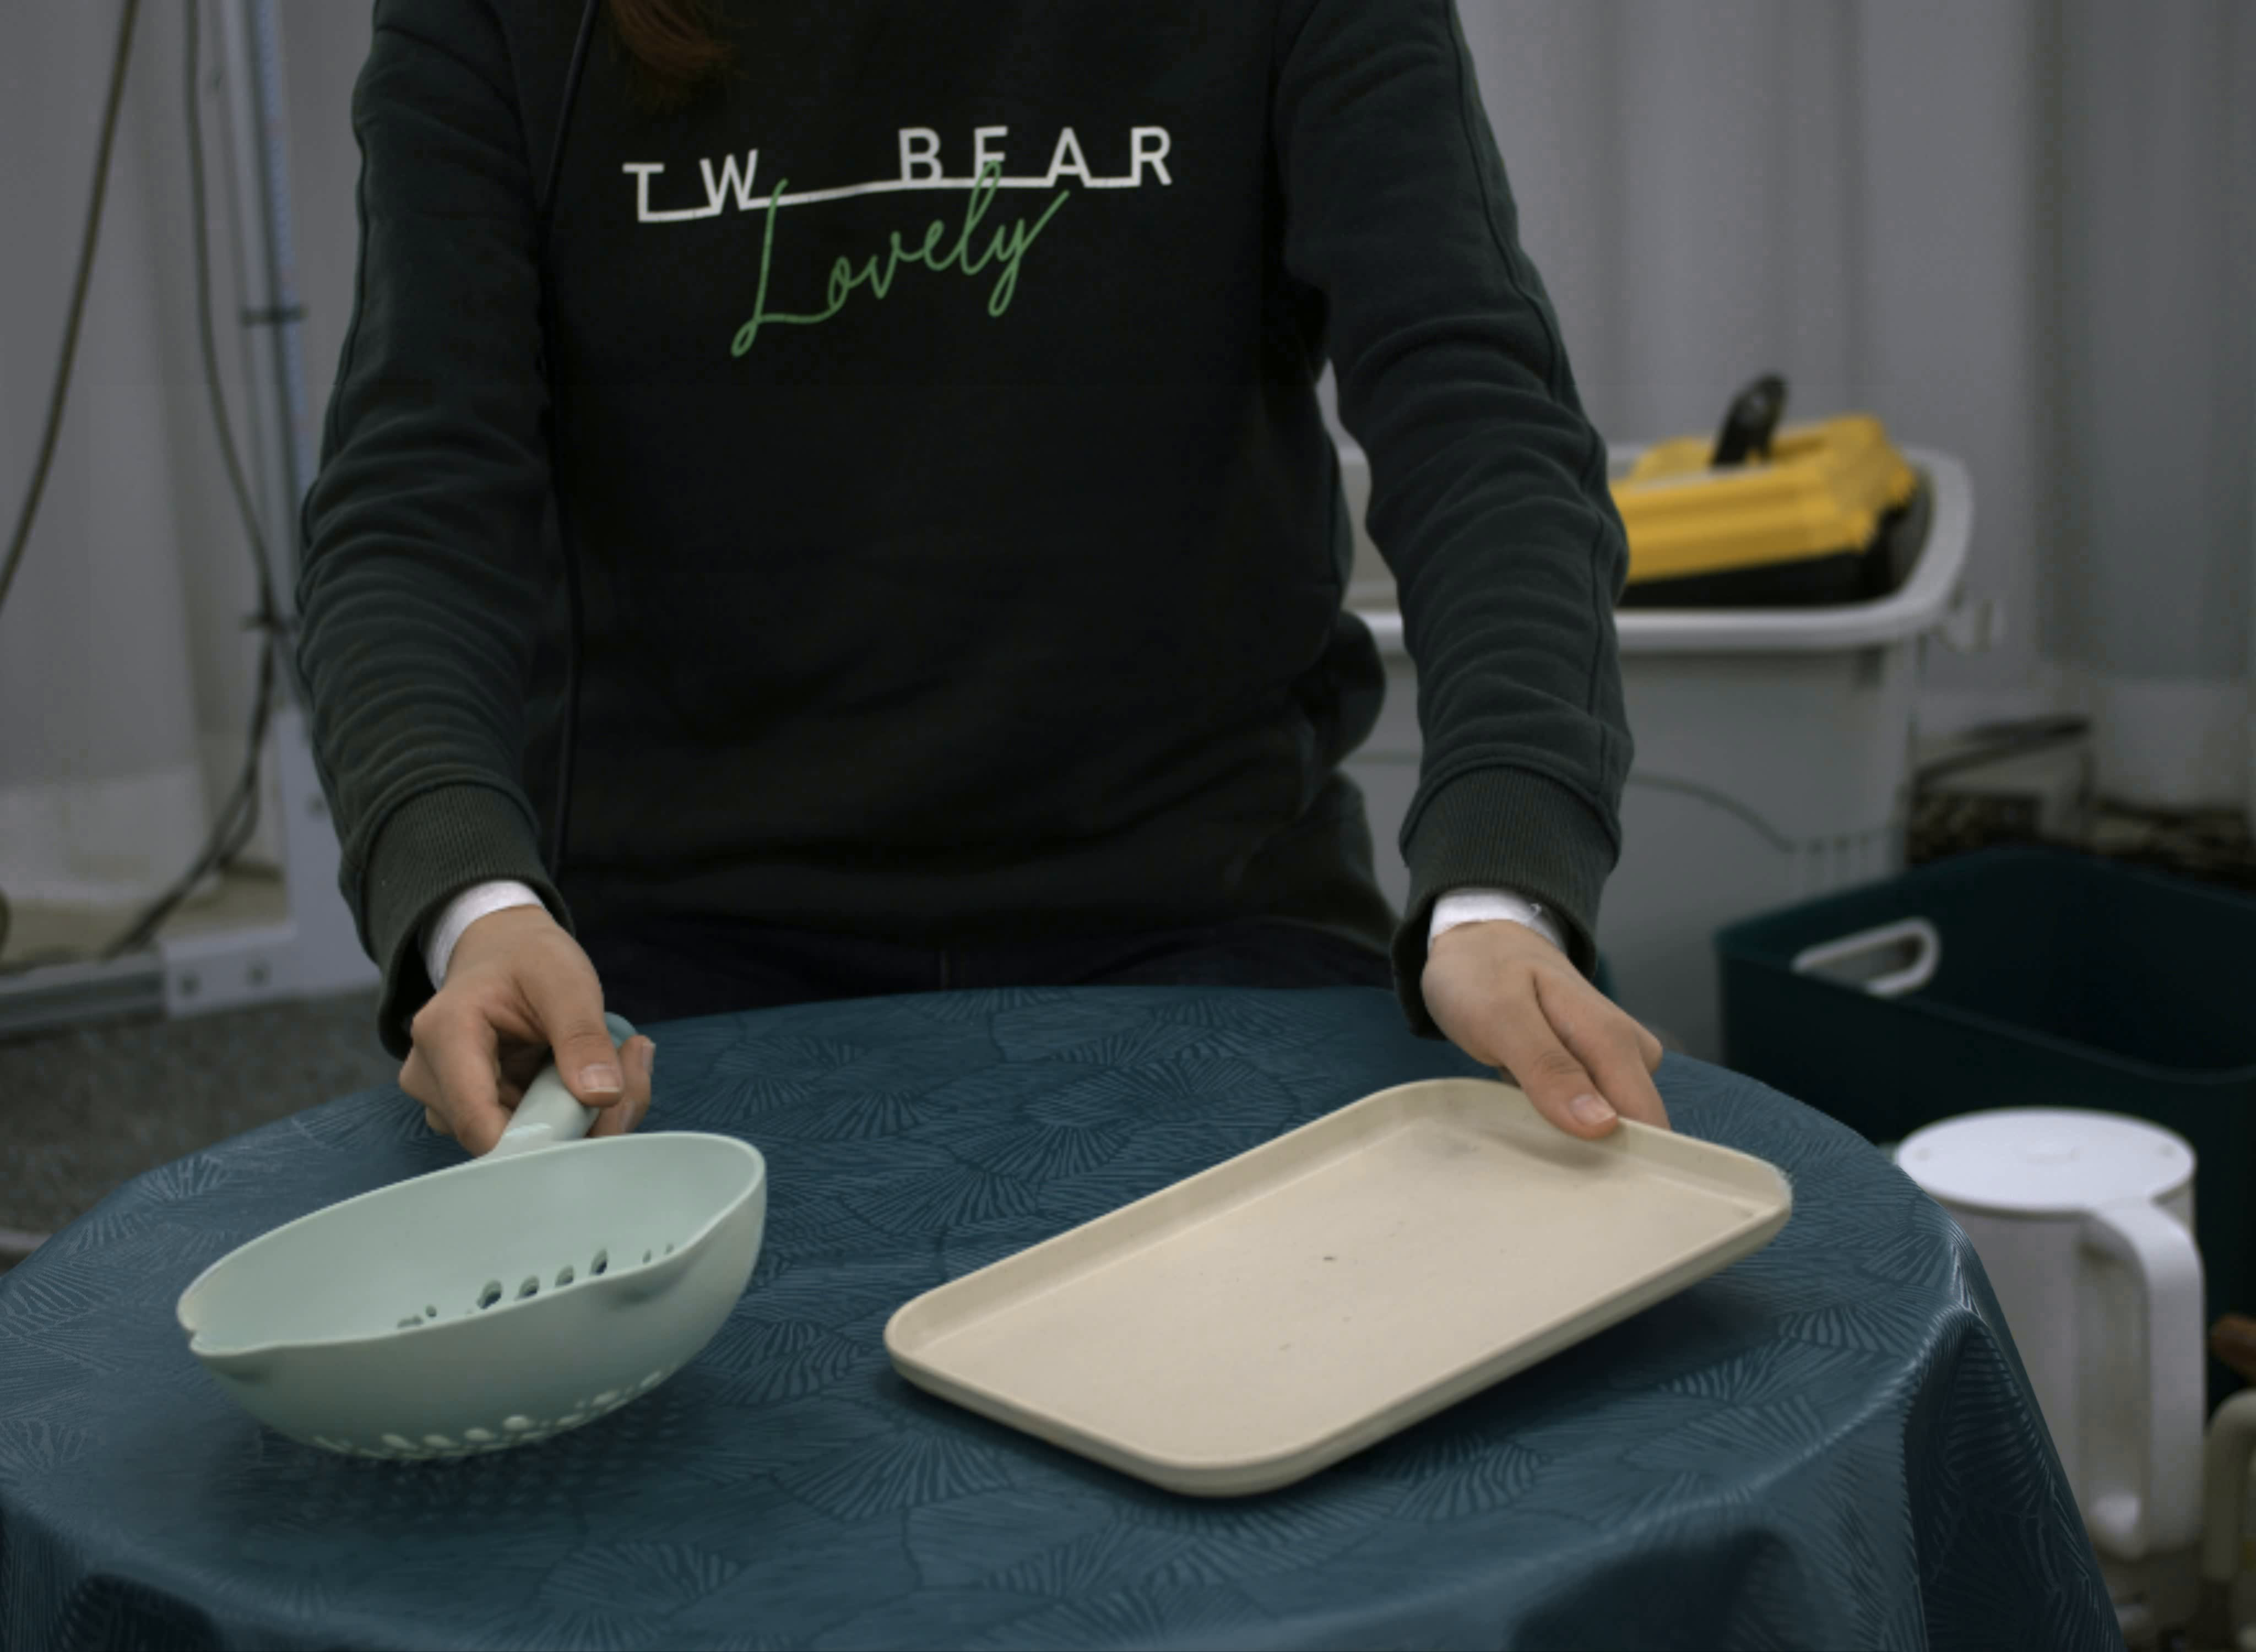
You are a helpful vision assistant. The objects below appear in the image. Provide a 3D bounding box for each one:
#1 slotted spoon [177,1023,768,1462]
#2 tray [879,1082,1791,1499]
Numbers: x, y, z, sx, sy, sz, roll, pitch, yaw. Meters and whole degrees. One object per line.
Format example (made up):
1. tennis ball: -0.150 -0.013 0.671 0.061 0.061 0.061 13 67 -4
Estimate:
1. slotted spoon: -0.176 0.106 1.622 0.169 0.075 0.362 -11 19 5
2. tray: 0.061 0.131 1.567 0.239 0.017 0.172 -21 23 -36
